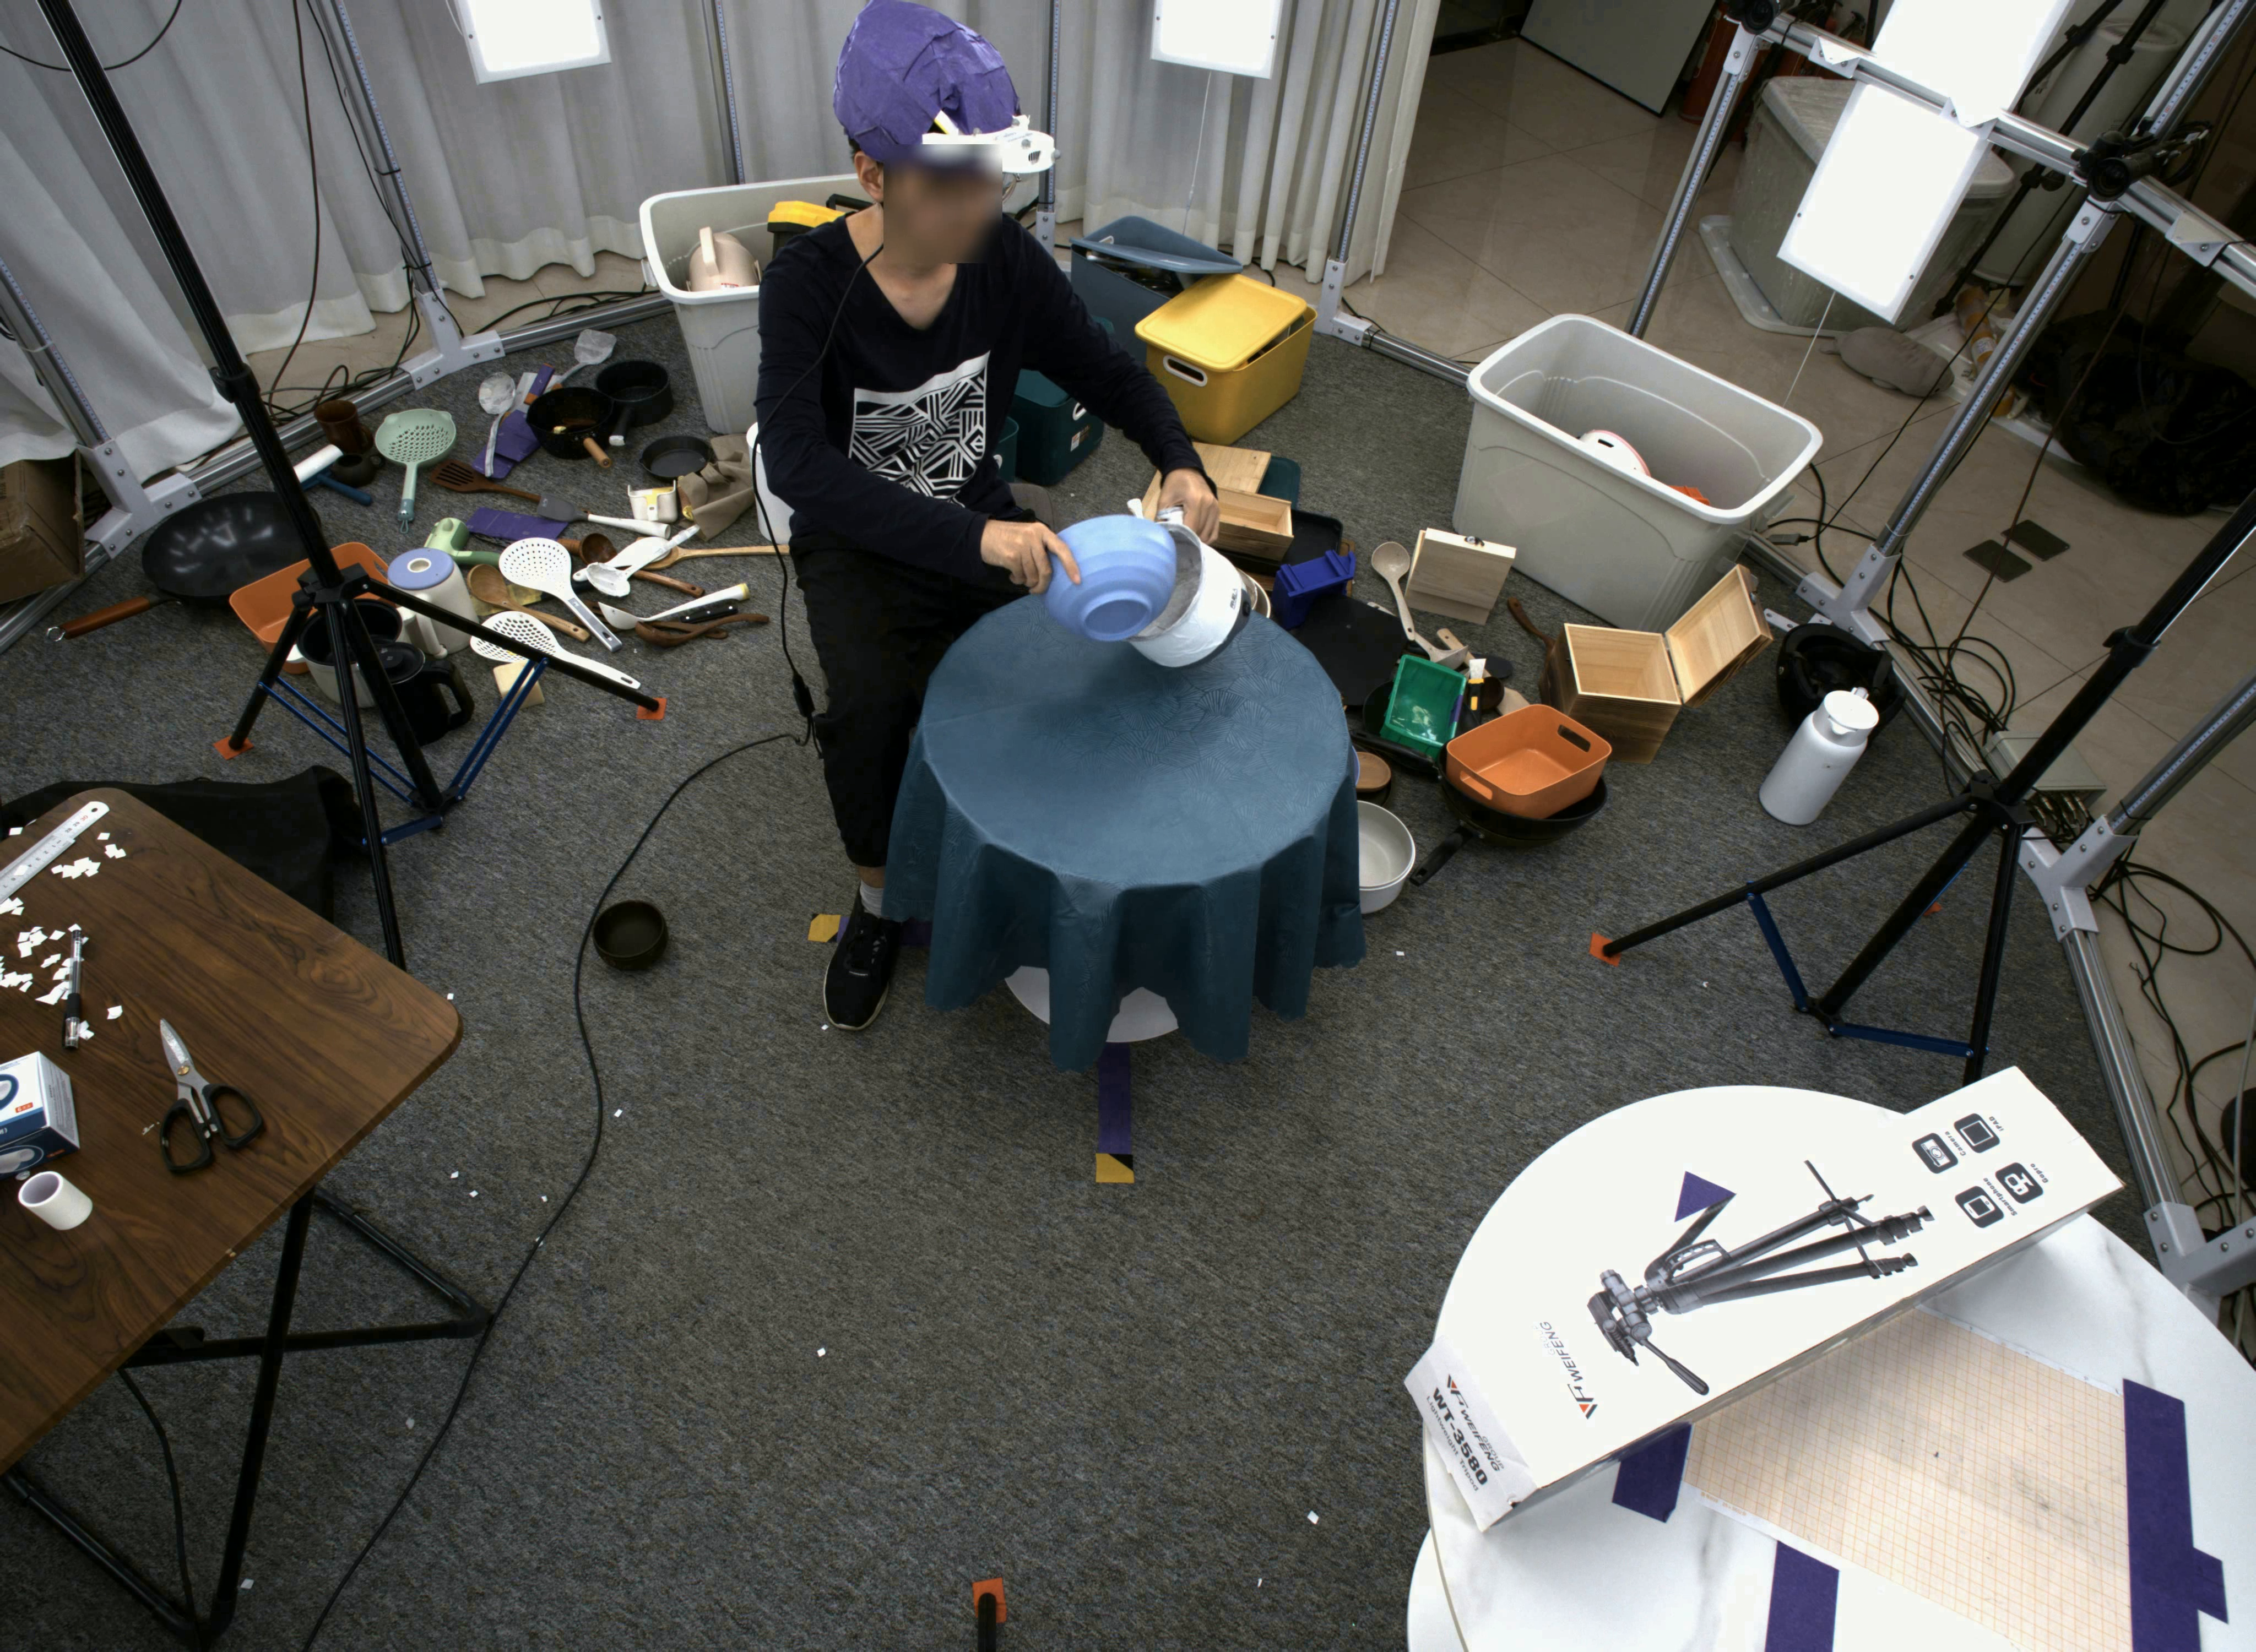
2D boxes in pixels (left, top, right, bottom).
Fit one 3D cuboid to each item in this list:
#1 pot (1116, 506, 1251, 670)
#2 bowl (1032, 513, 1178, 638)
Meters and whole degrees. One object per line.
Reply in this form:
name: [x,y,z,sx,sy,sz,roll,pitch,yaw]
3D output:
pot: [0.070,-0.344,1.807,0.179,0.134,0.236,-1,73,33]
bowl: [-0.022,-0.311,1.683,0.196,0.193,0.097,-6,66,-10]
